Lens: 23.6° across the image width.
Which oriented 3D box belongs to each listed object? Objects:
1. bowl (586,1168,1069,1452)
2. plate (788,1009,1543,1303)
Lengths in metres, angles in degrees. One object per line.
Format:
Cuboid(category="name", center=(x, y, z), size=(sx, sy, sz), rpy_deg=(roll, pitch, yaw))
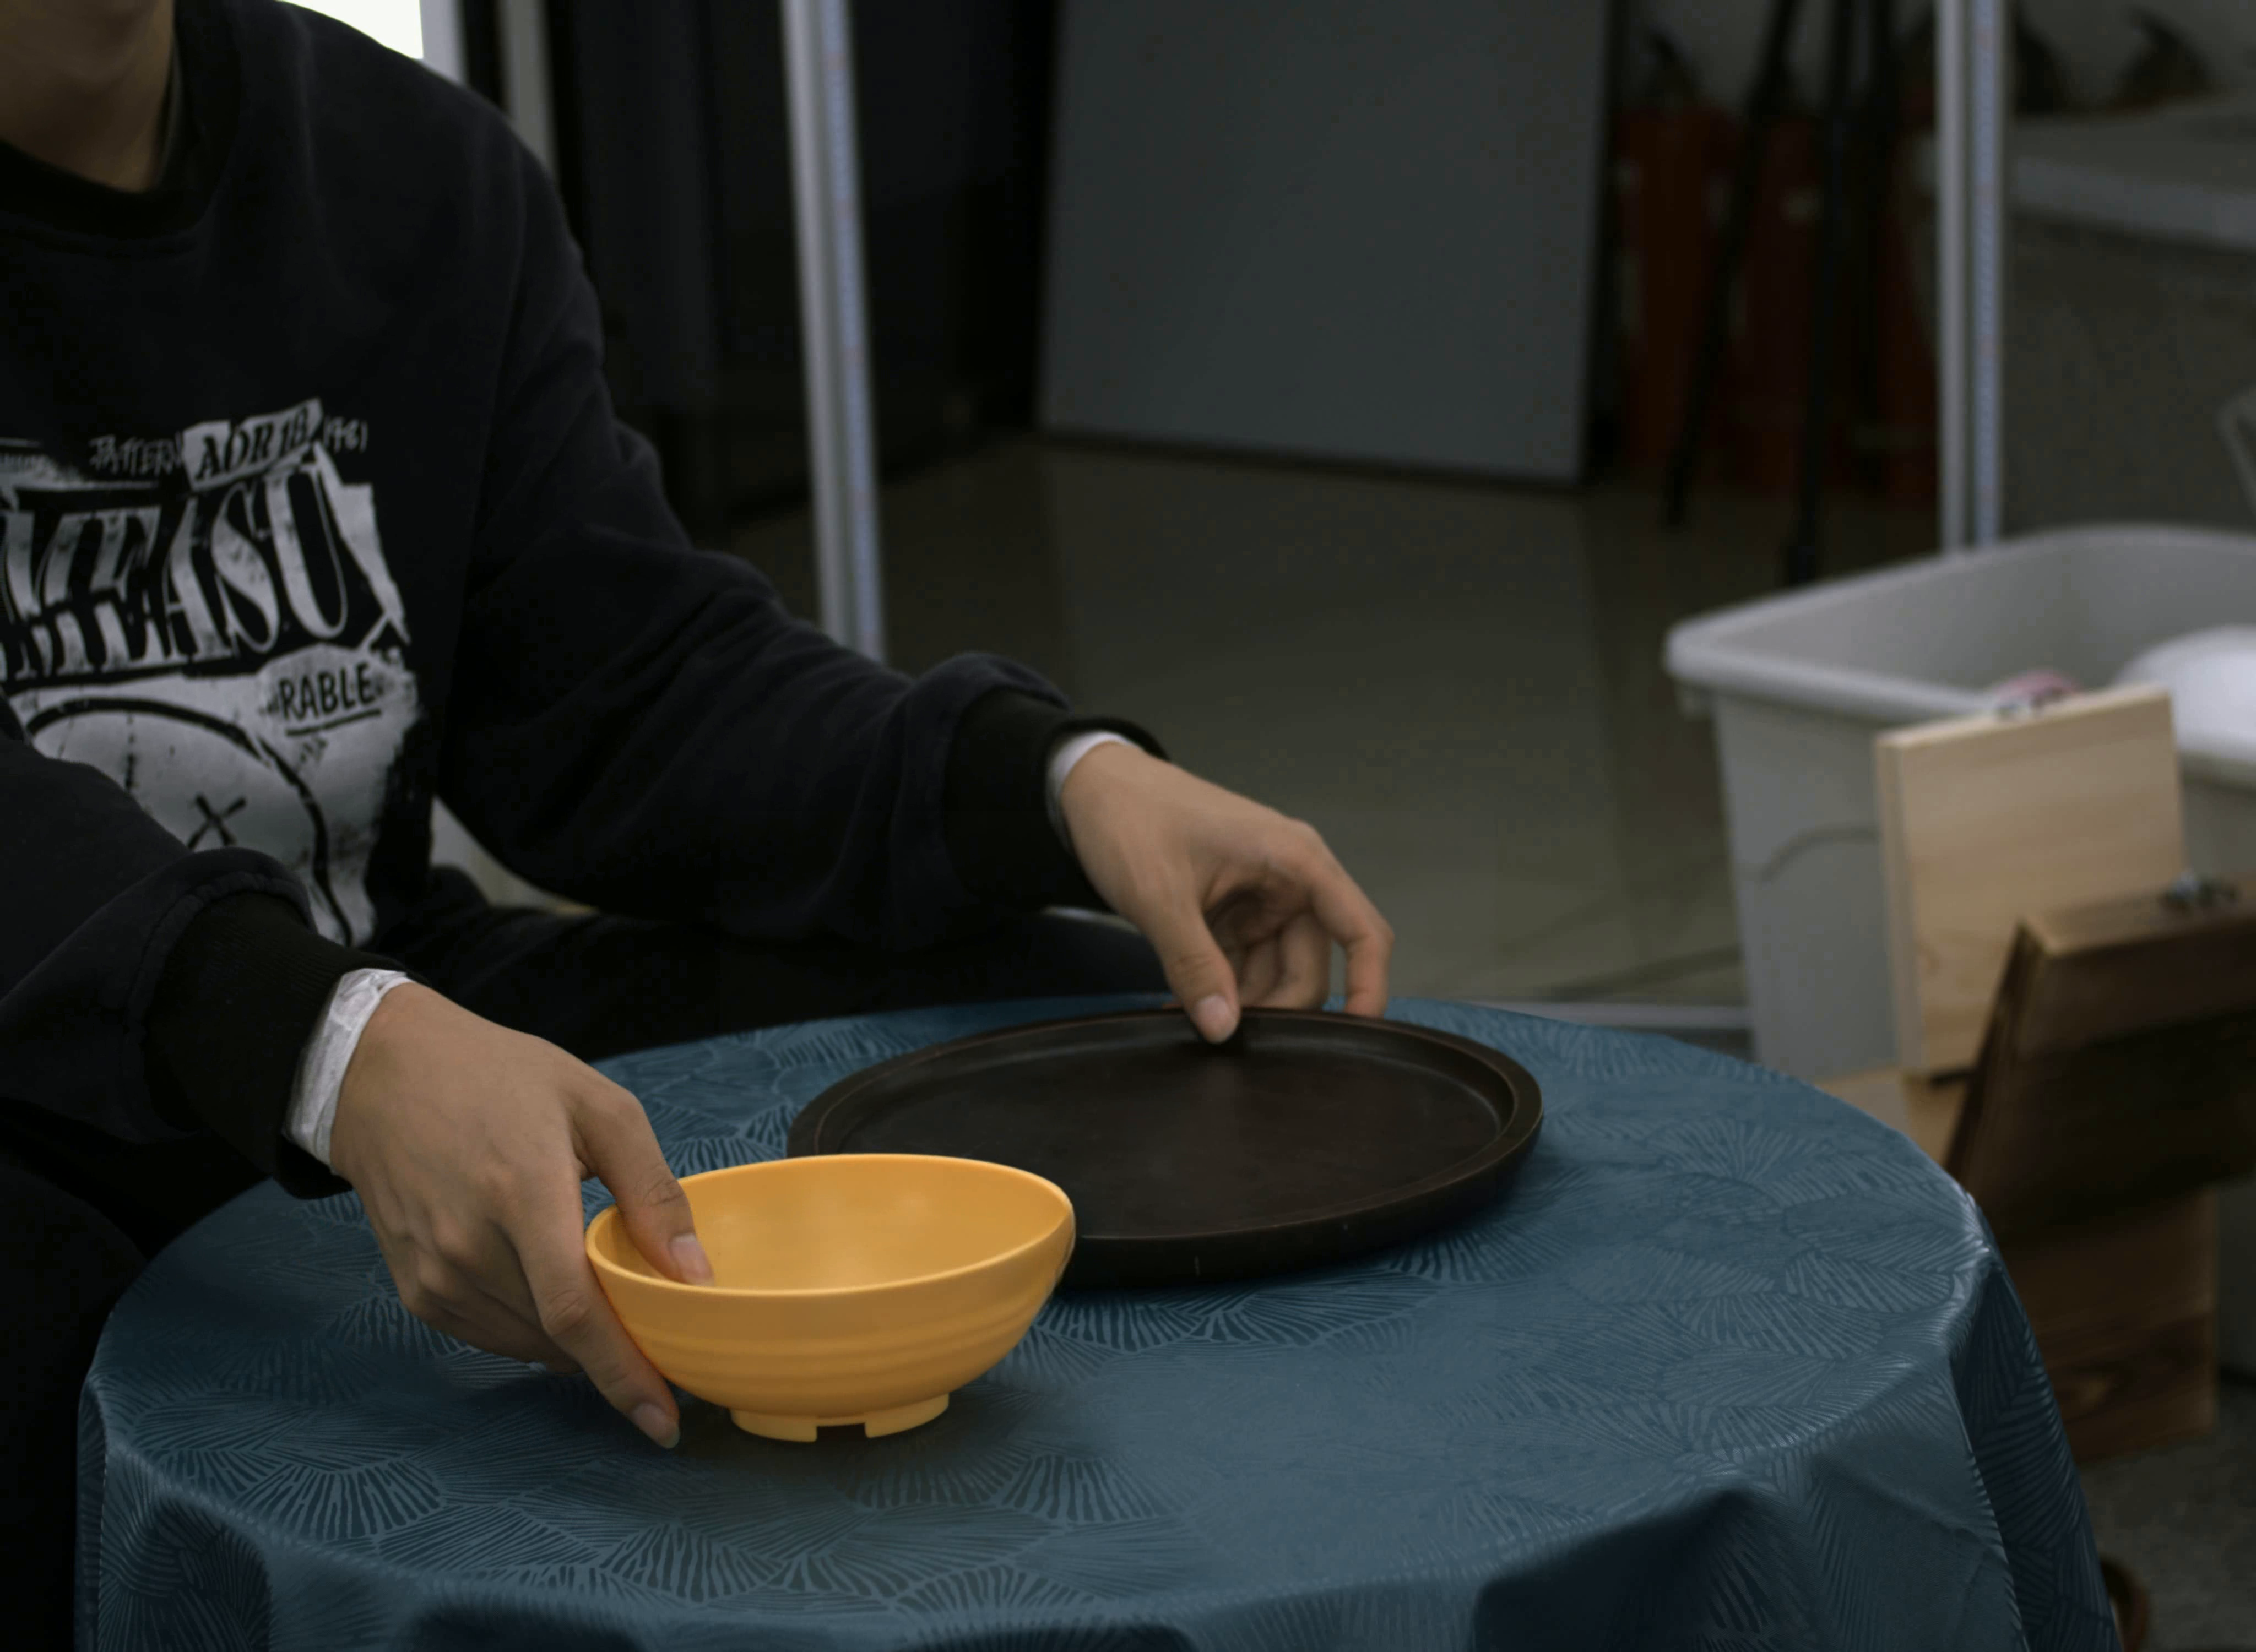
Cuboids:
Cuboid(category="bowl", center=(-0.085, 0.145, 1.579), size=(0.143, 0.061, 0.145), rpy_deg=(-4, 10, 0))
Cuboid(category="plate", center=(0.013, 0.106, 1.781), size=(0.251, 0.029, 0.255), rpy_deg=(-6, 14, 1))
